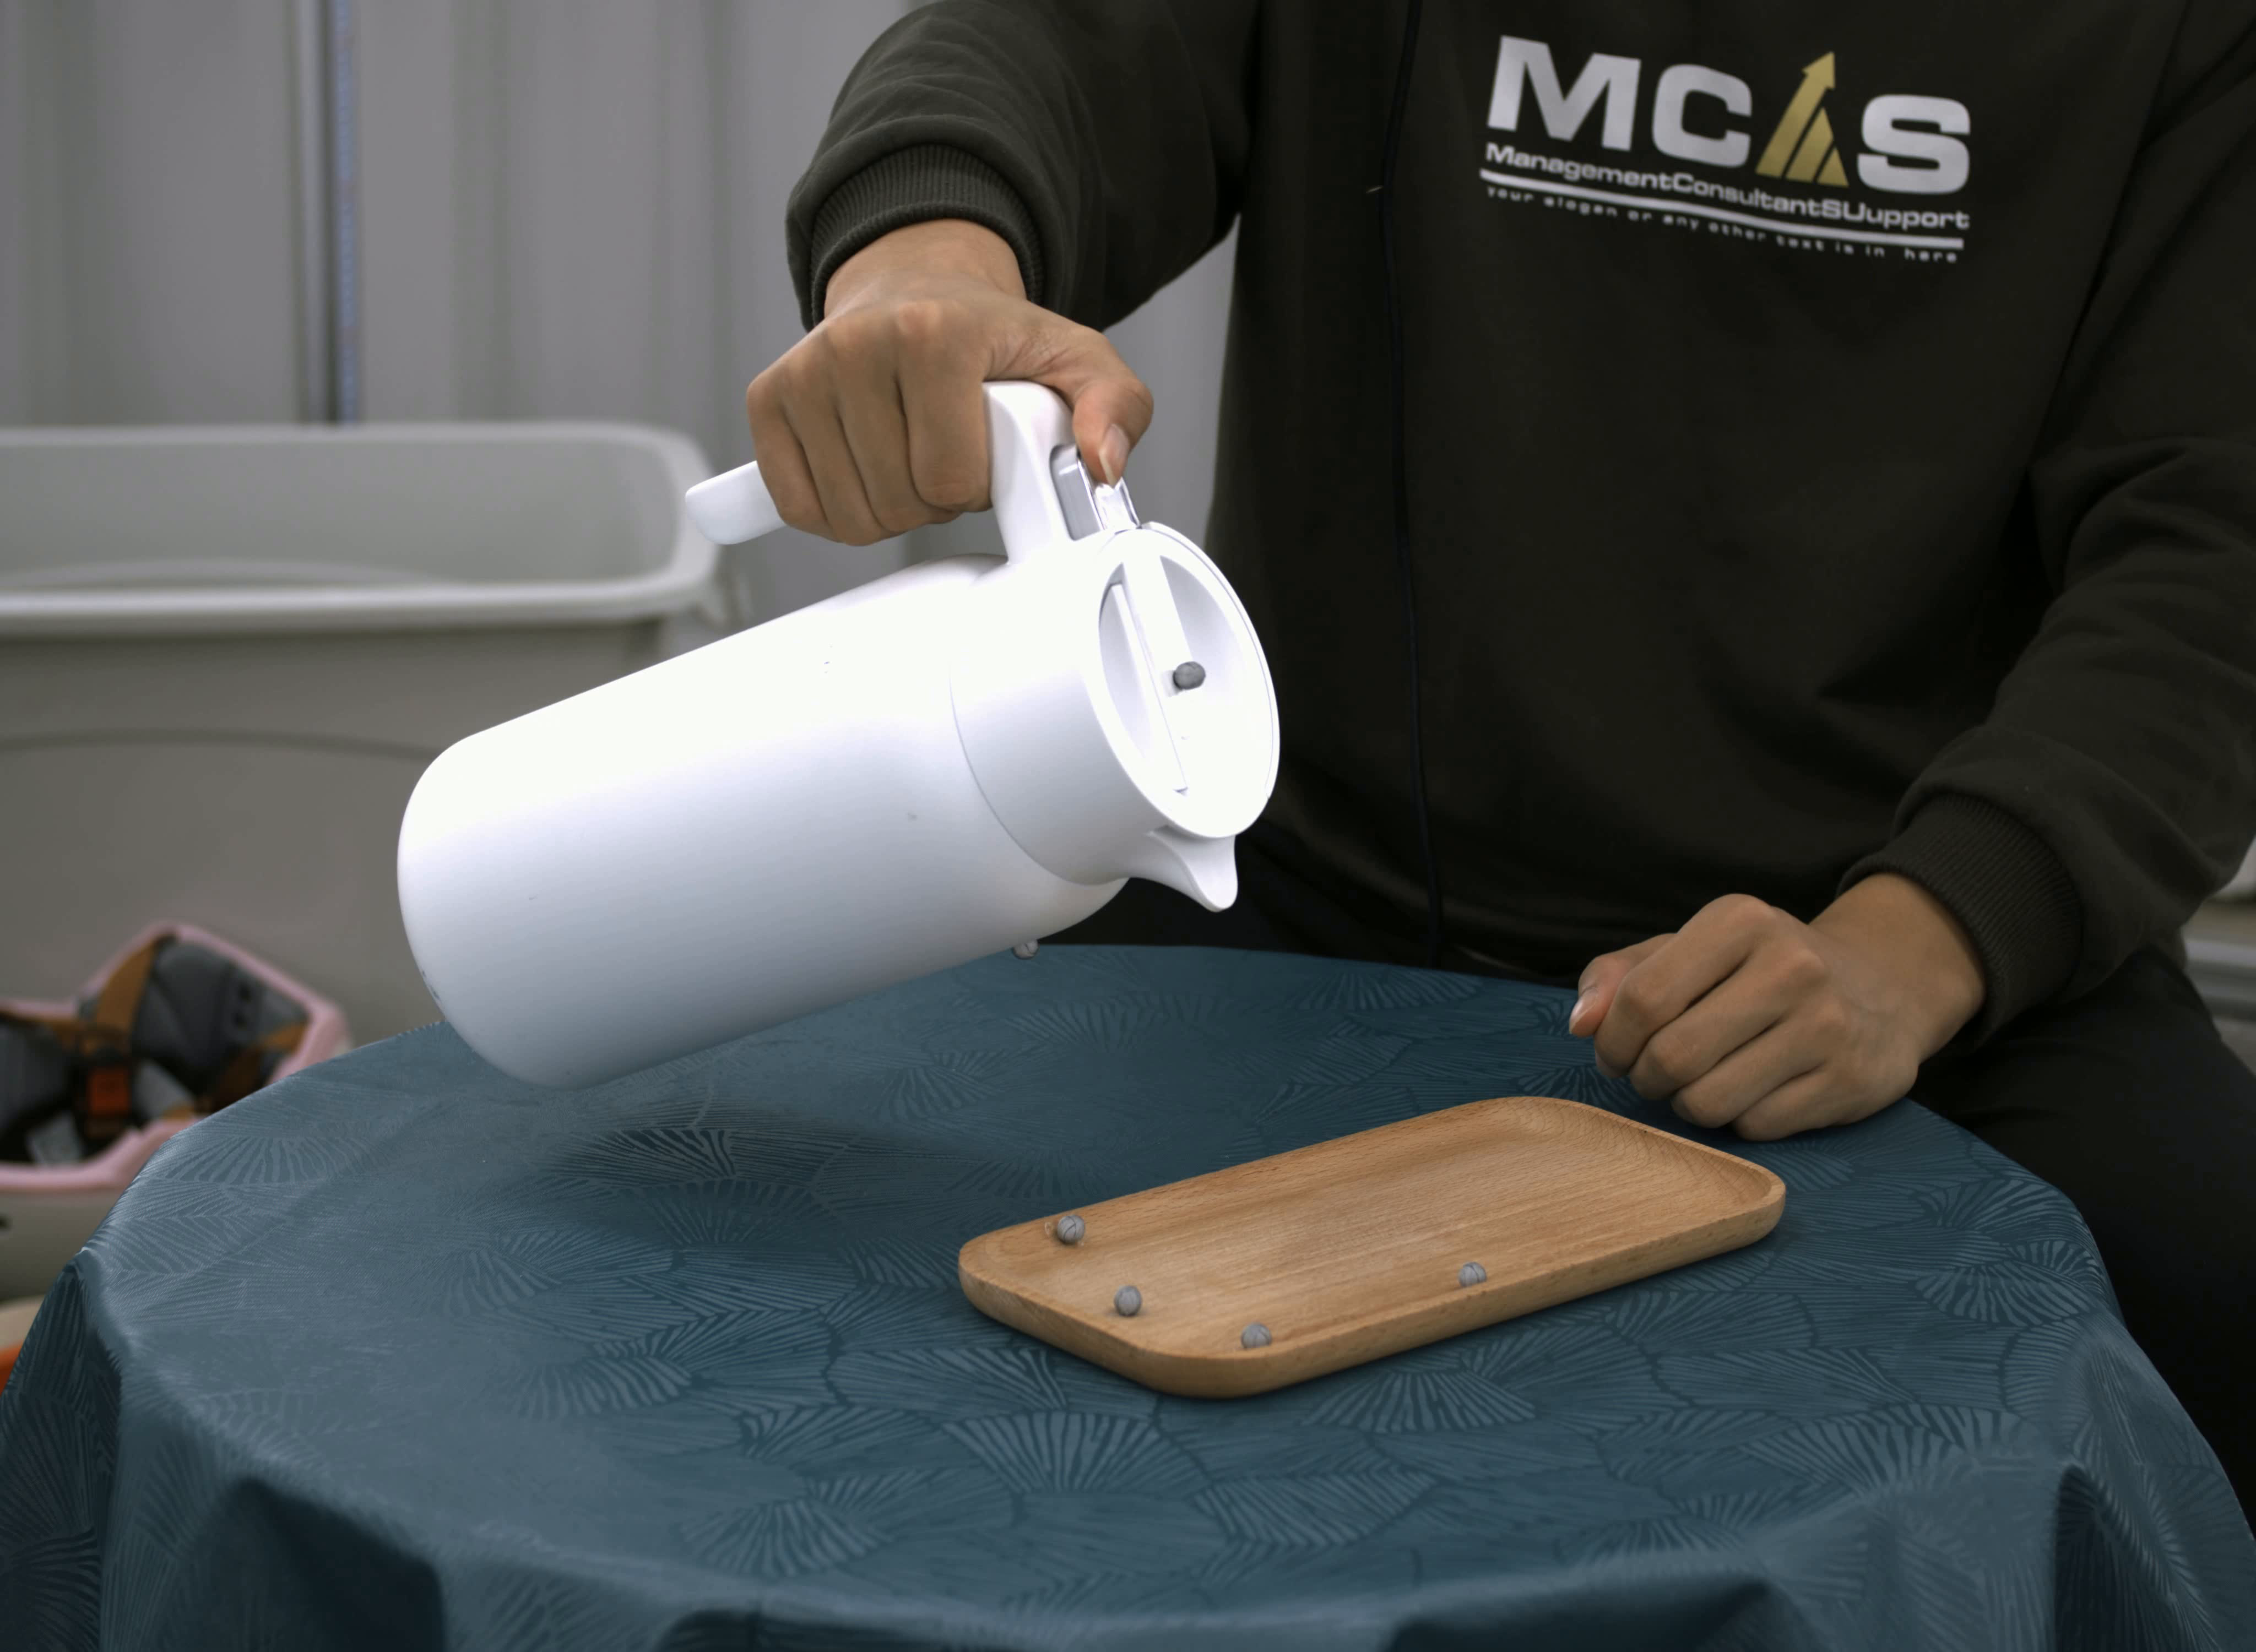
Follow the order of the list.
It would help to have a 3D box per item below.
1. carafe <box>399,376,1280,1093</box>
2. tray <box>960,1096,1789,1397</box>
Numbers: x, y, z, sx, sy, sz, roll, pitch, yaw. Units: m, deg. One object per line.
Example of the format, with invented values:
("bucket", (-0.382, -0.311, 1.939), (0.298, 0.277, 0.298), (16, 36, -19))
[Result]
("carafe", (-0.095, -0.023, 1.590), (0.267, 0.173, 0.124), (-20, -1, 34))
("tray", (0.076, 0.123, 1.568), (0.252, 0.023, 0.129), (-11, 22, -38))
